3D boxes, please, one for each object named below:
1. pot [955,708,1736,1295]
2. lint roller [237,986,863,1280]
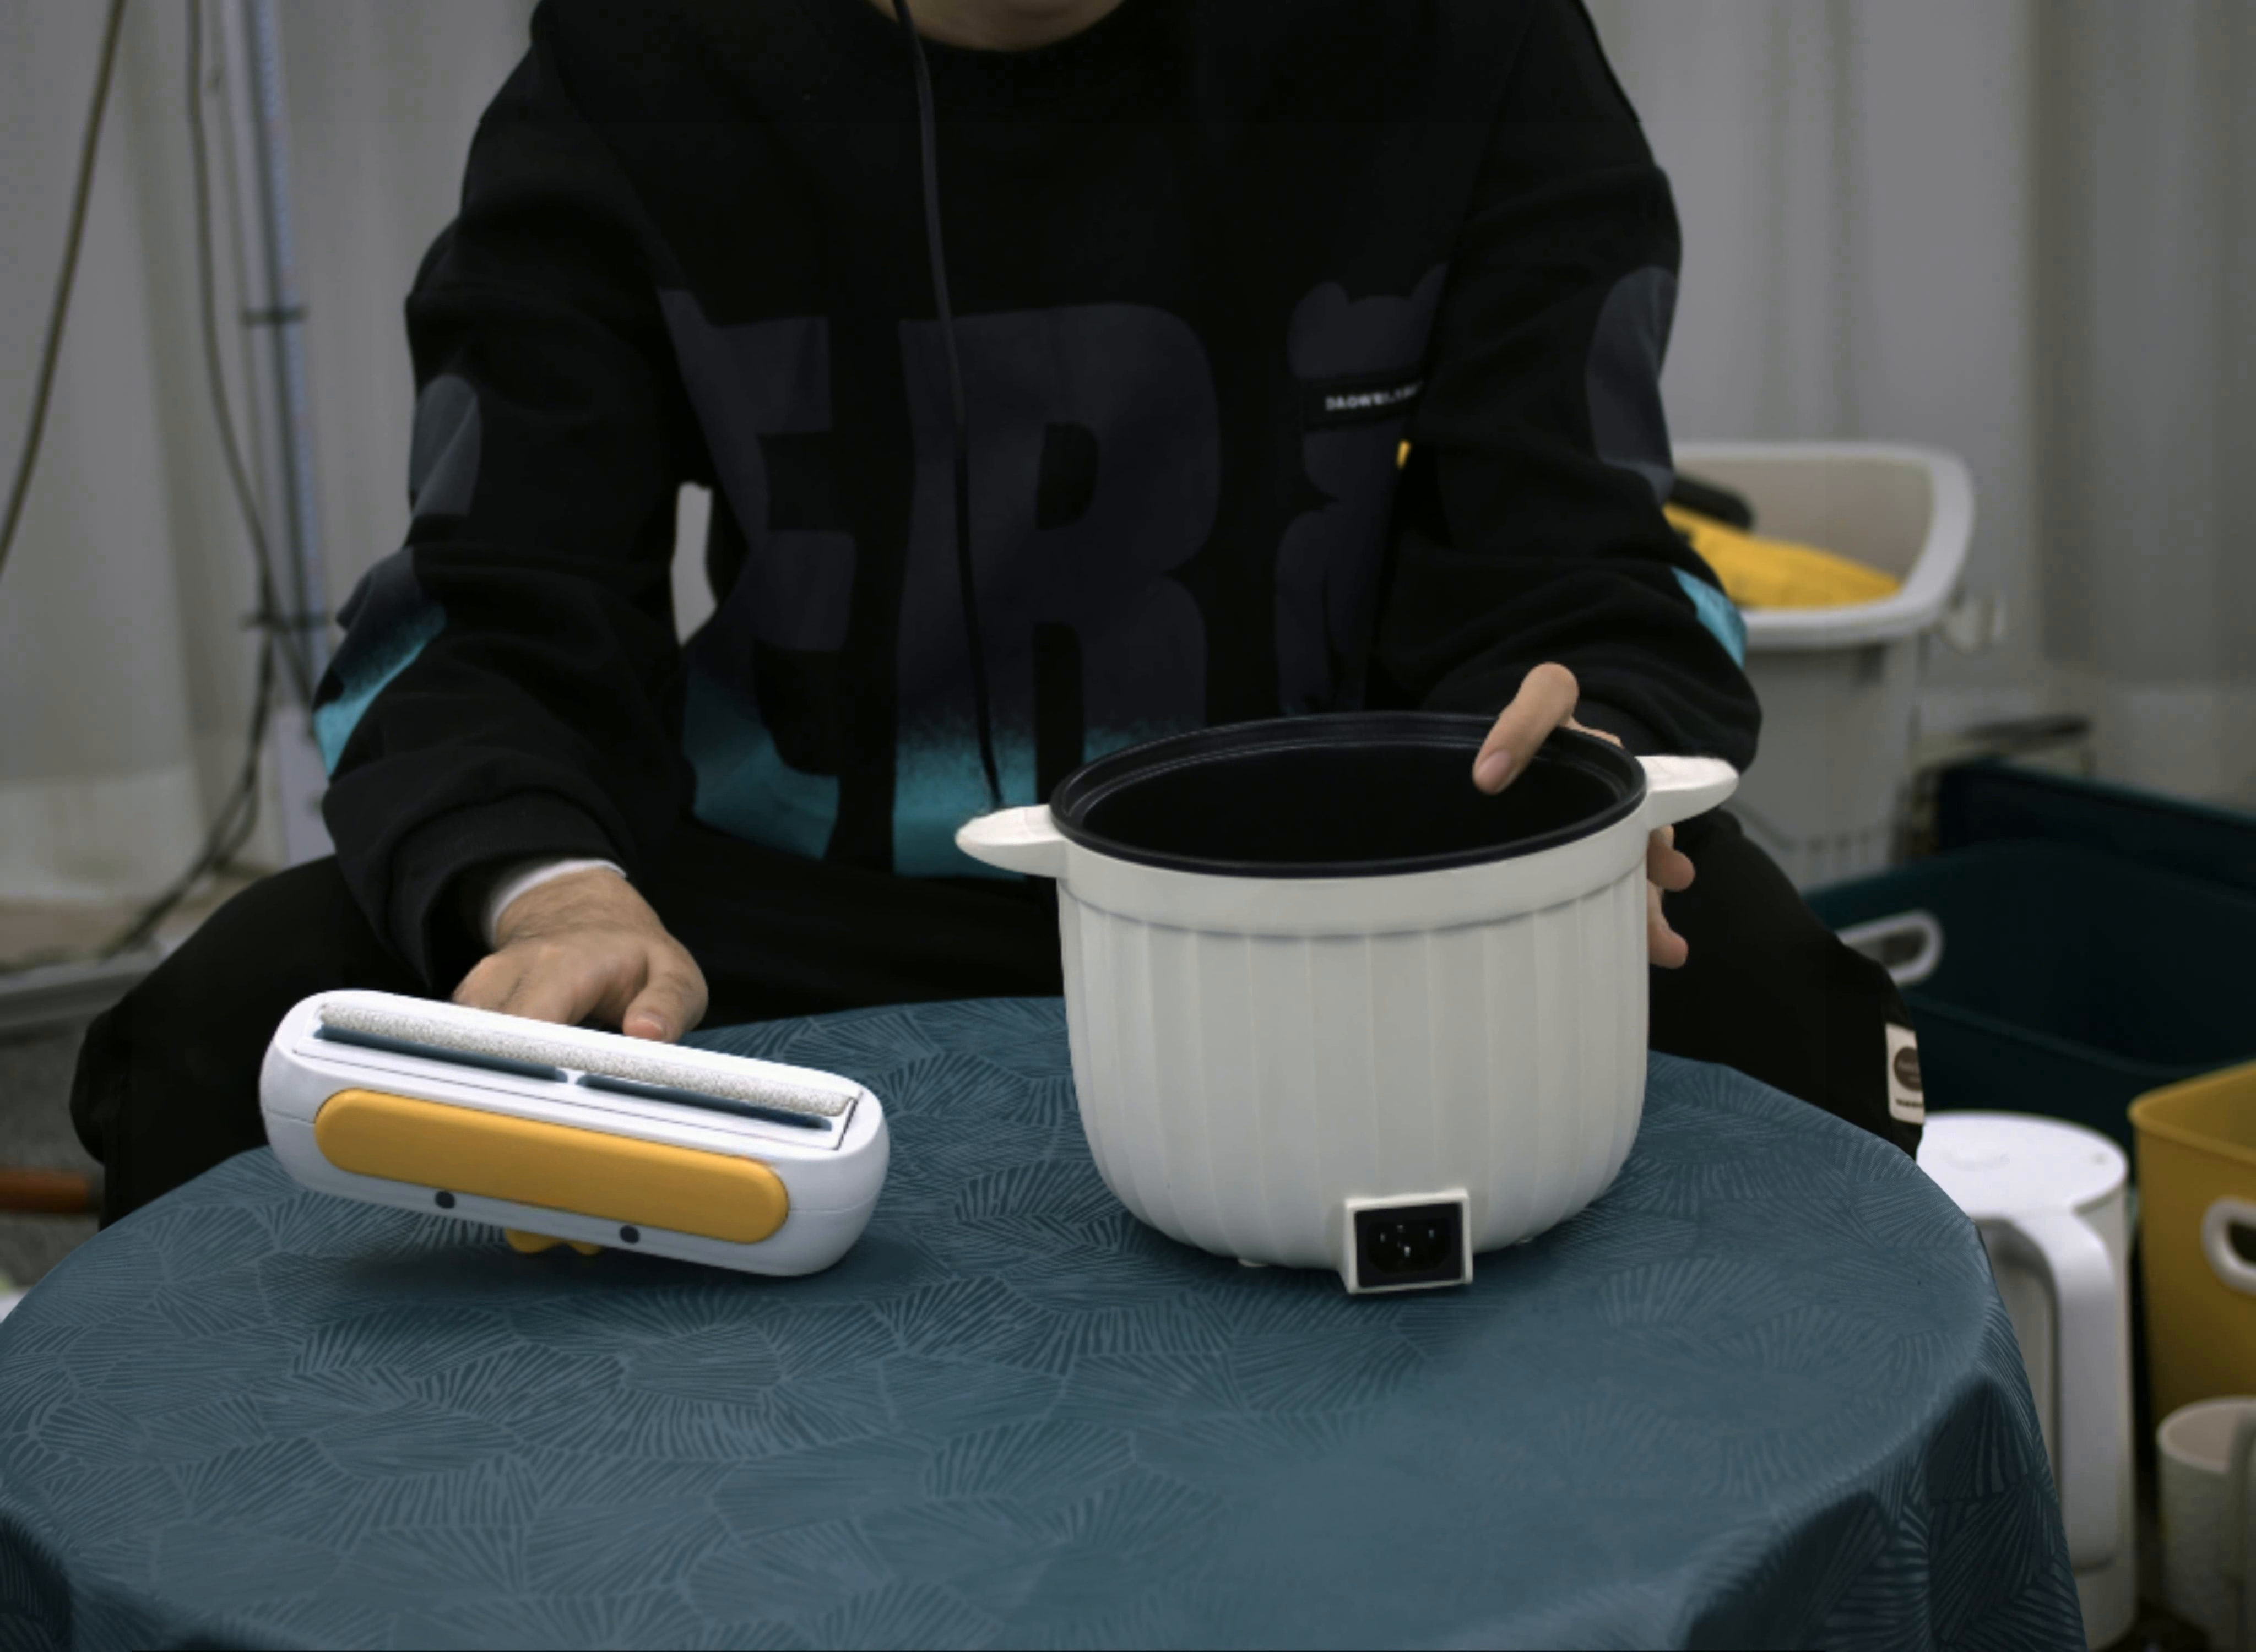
[{"bbox_3d":[0.067,0.050,1.674,0.239,0.142,0.192,-4,17,-7],"label":"pot"},{"bbox_3d":[-0.166,0.086,1.726,0.192,0.074,0.193,6,15,9],"label":"lint roller"}]
